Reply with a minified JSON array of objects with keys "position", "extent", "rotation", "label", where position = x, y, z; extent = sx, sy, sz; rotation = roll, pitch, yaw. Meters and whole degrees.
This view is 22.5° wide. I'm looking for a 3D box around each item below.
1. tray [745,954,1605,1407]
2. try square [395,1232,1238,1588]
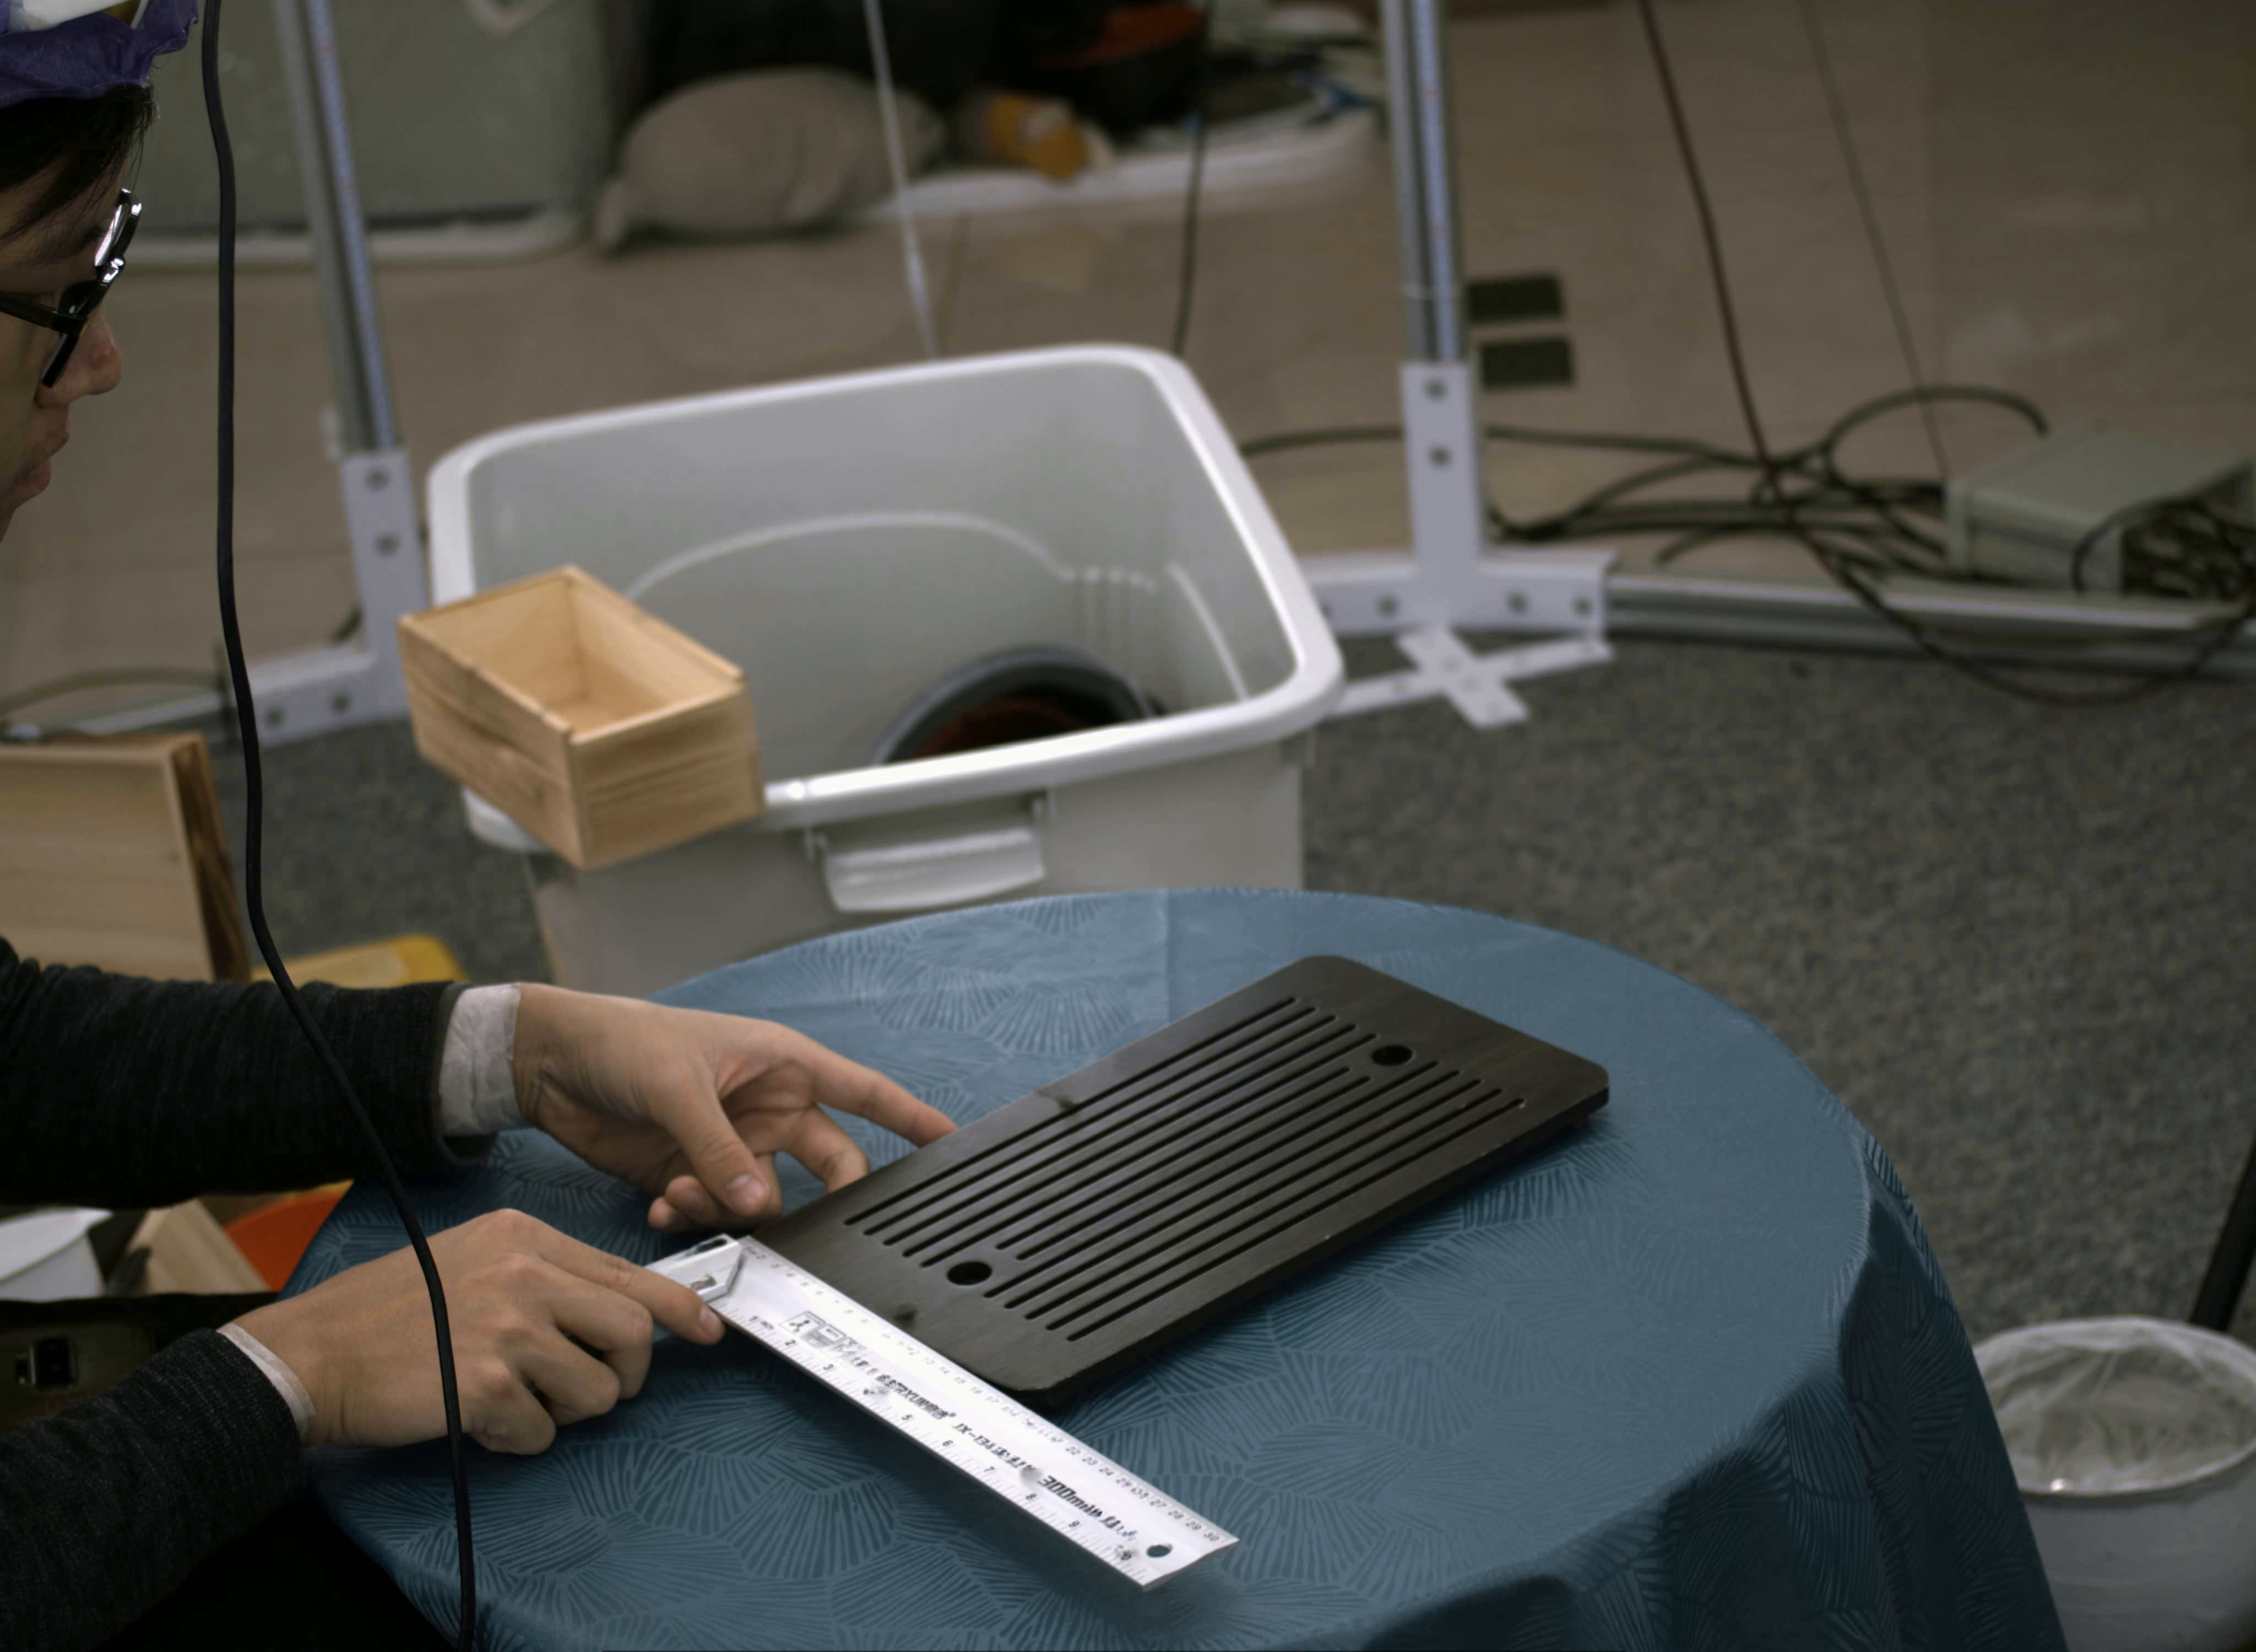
[{"position":[0.020,0.131,2.134],"extent":[0.303,0.019,0.168],"rotation":[-25,33,-34],"label":"tray"},{"position":[-0.114,0.218,1.953],"extent":[0.151,0.016,0.310],"rotation":[-23,29,-29],"label":"try square"}]
